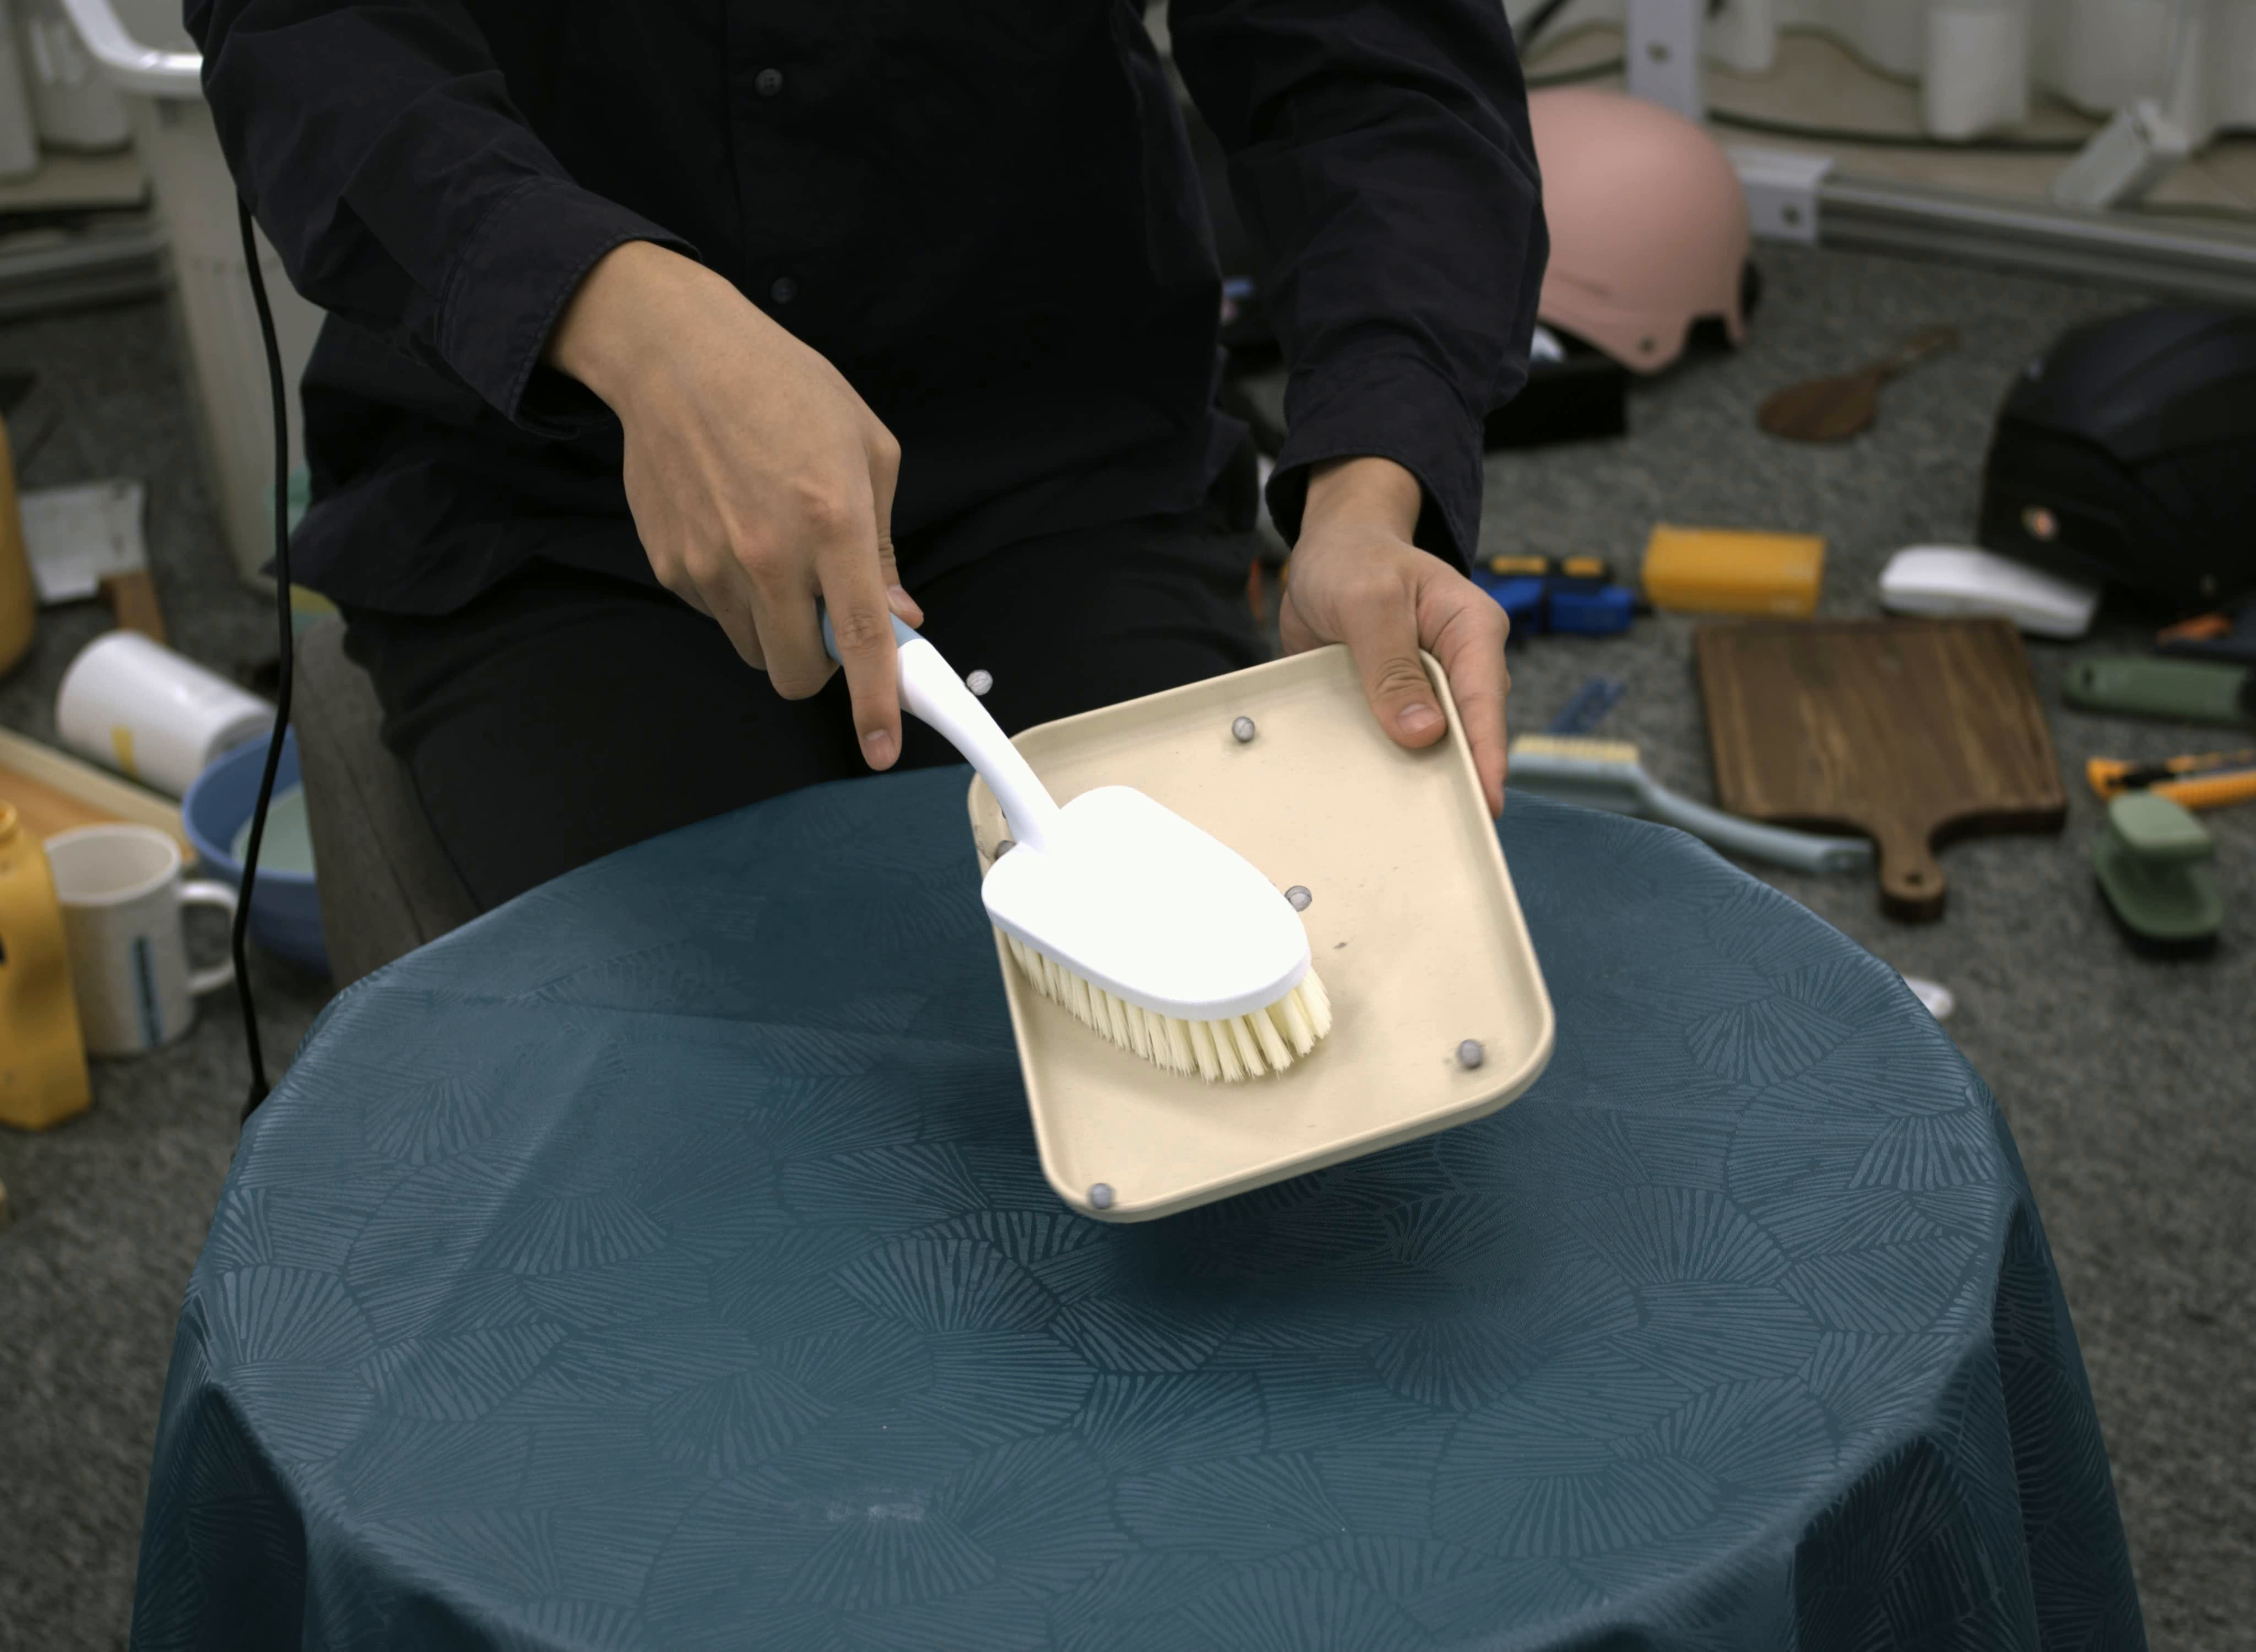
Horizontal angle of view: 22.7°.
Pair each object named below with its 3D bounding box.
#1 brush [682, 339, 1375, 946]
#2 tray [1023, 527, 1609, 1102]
[{"bbox_3d":[-0.034,-0.058,1.902,0.327,0.083,0.083,38,27,30],"label":"brush"},{"bbox_3d":[0.060,-0.005,1.866,0.170,0.017,0.244,-16,40,2],"label":"tray"}]
